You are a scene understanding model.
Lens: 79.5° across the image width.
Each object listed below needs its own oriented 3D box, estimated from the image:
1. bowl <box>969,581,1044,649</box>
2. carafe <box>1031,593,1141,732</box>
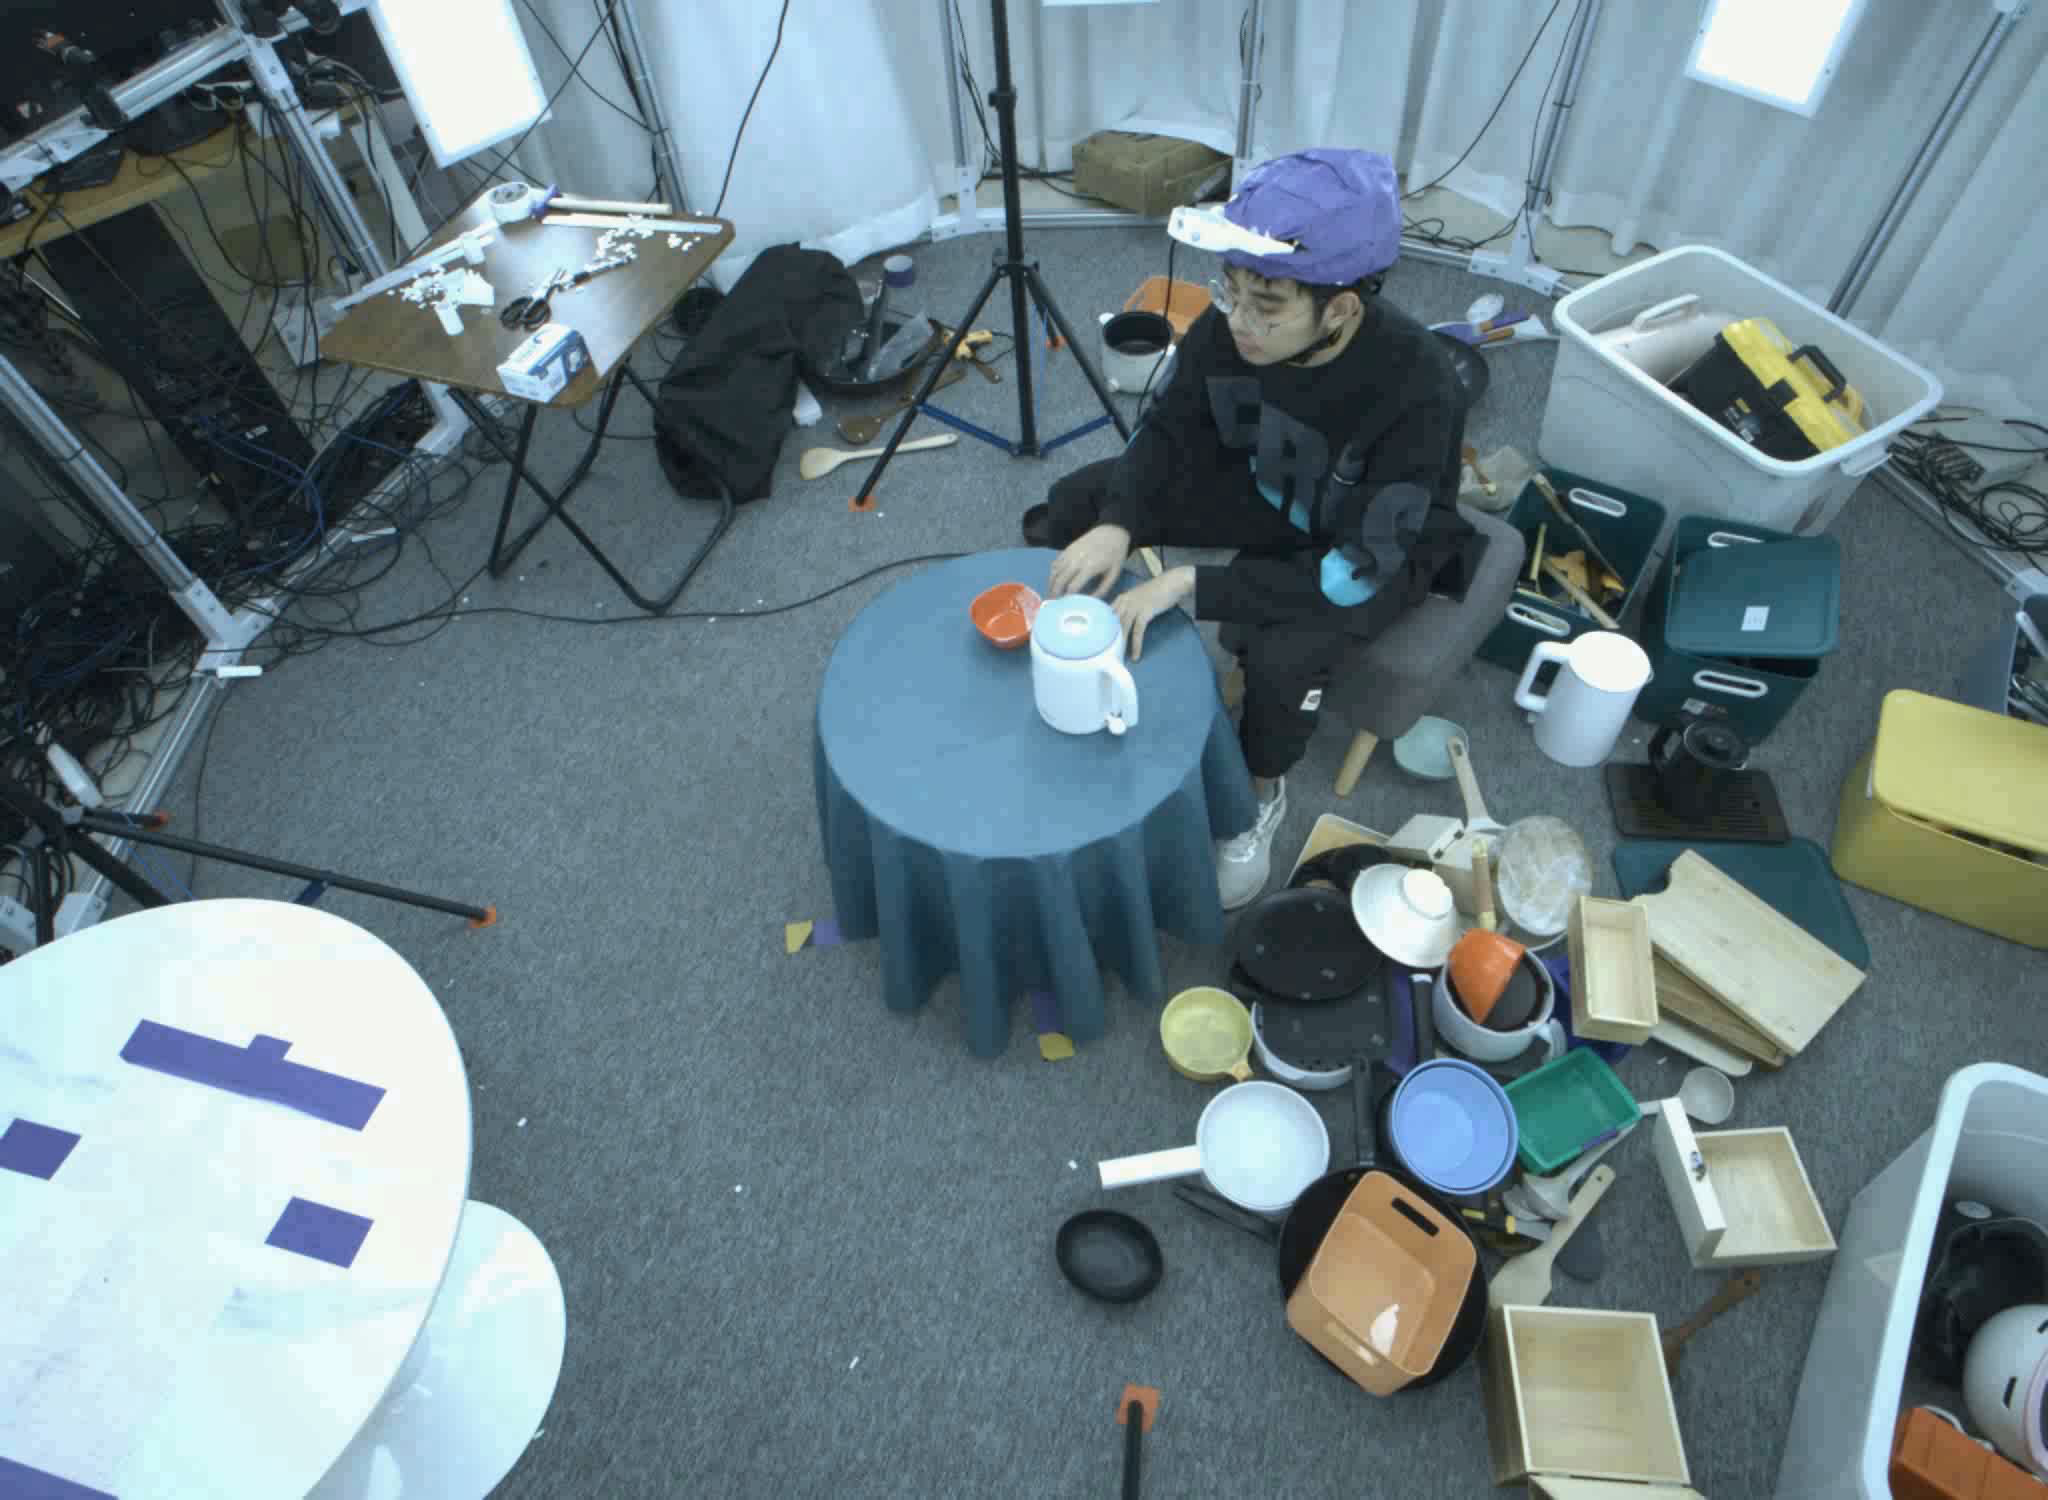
[{"bbox_3d":[-0.024,-0.201,1.893,0.118,0.052,0.117,-2,54,4],"label":"bowl"},{"bbox_3d":[0.094,-0.110,1.753,0.133,0.184,0.188,-40,64,-21],"label":"carafe"}]
